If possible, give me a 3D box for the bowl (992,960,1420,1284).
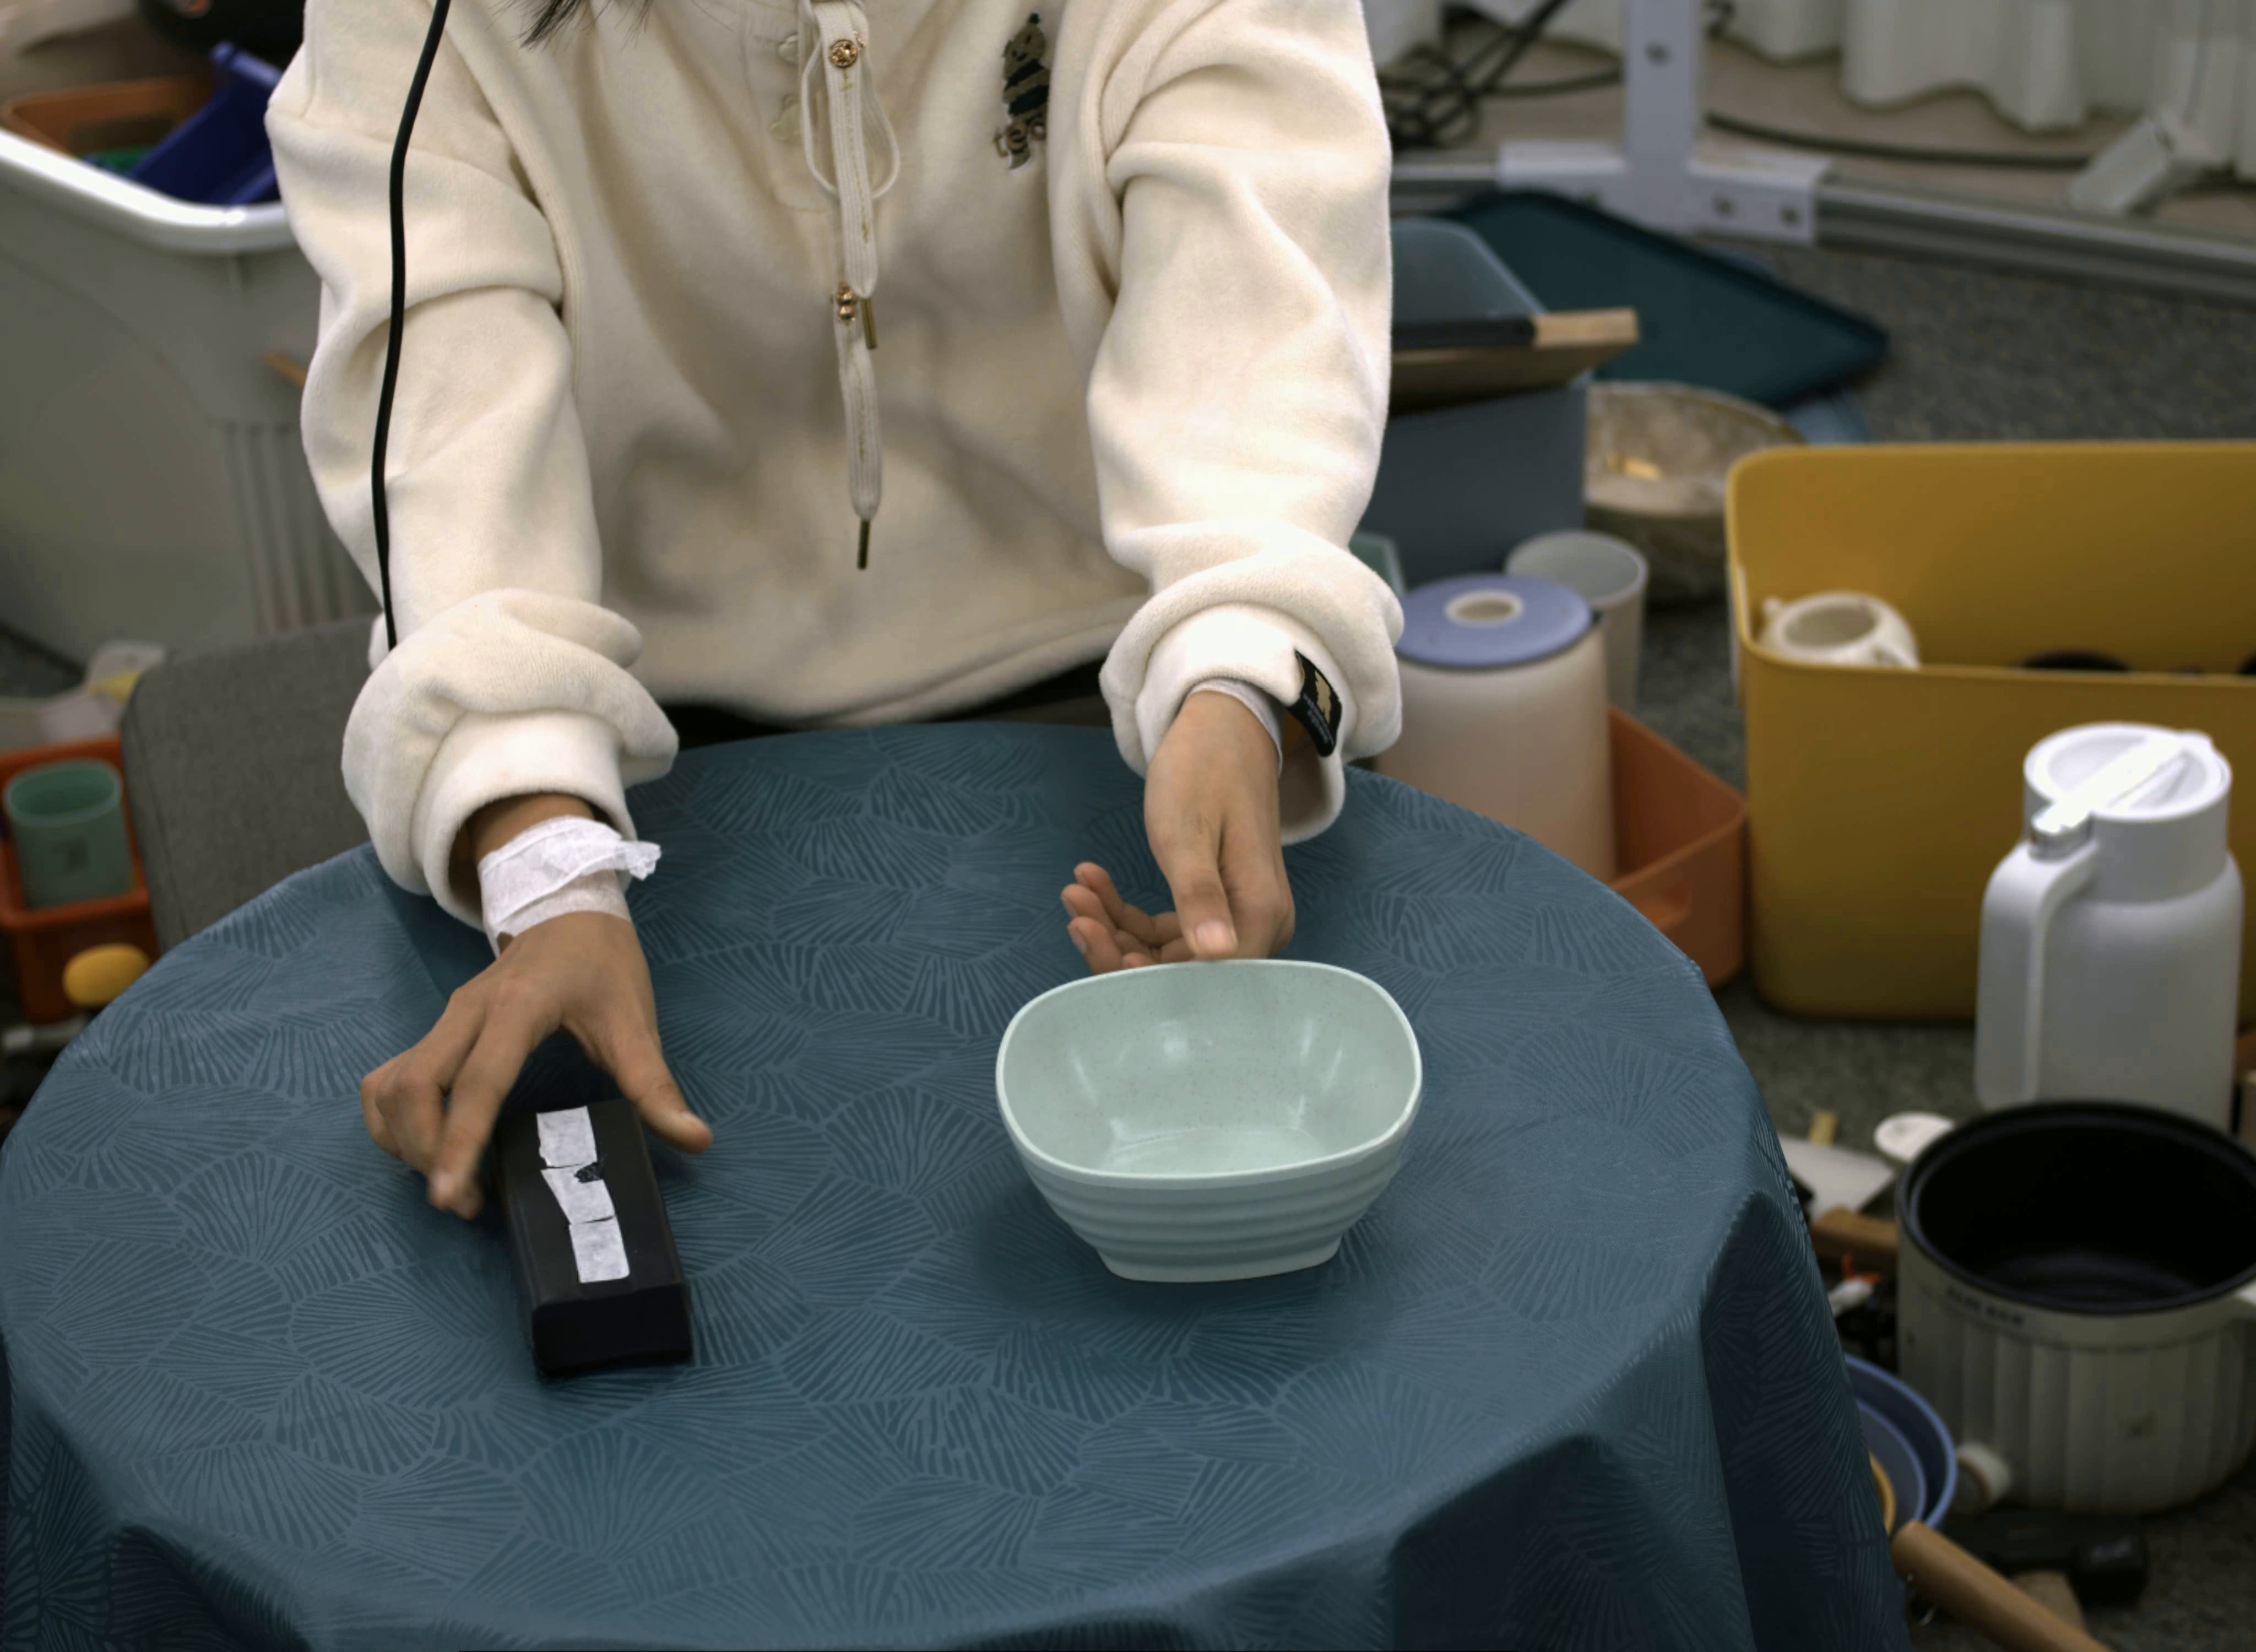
[{"bbox_3d":[0.025,0.103,1.835,0.151,0.058,0.154,0,27,0],"label":"bowl"}]

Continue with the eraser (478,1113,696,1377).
[{"bbox_3d":[-0.176,0.135,1.823,0.053,0.030,0.127,-7,25,-12],"label":"eraser"}]
